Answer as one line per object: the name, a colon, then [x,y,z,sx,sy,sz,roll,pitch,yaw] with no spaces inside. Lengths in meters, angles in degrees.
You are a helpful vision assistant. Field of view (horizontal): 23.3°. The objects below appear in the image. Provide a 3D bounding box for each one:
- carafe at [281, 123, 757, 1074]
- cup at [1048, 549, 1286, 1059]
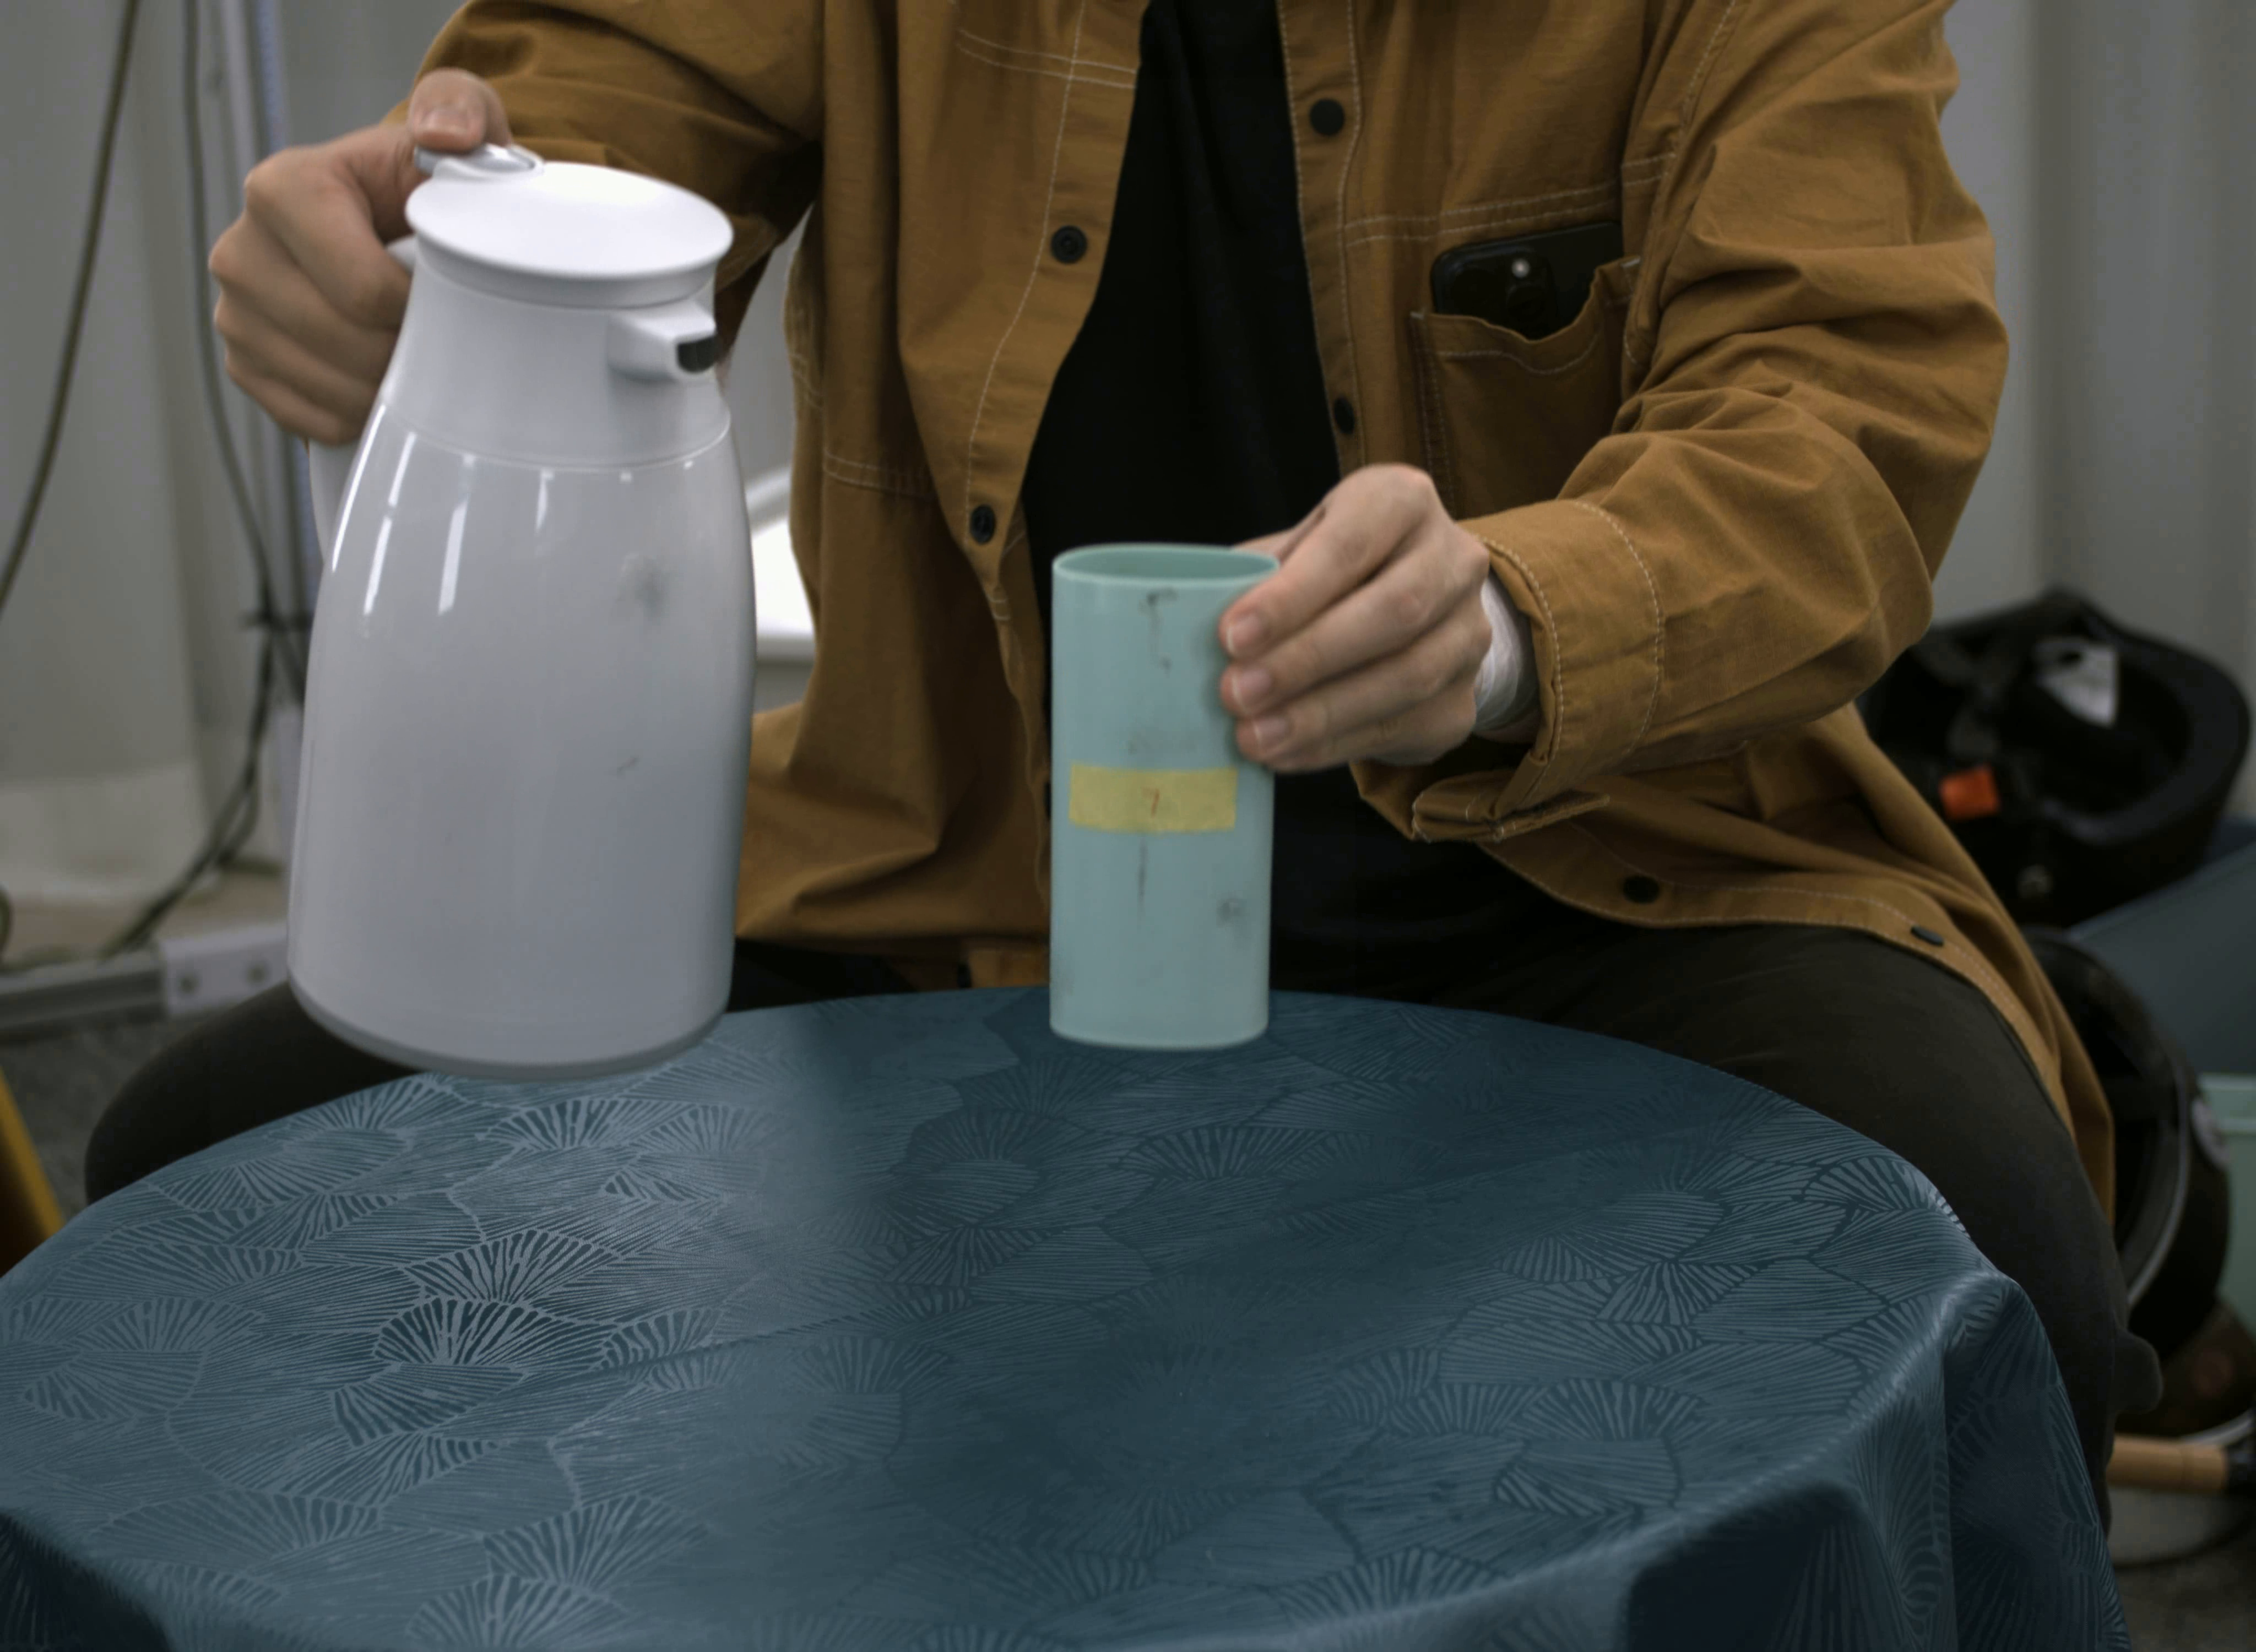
carafe: [-0.183,-0.075,1.588,0.132,0.247,0.169,-15,32,-42]
cup: [0.010,-0.008,1.516,0.066,0.132,0.067,1,11,-1]
